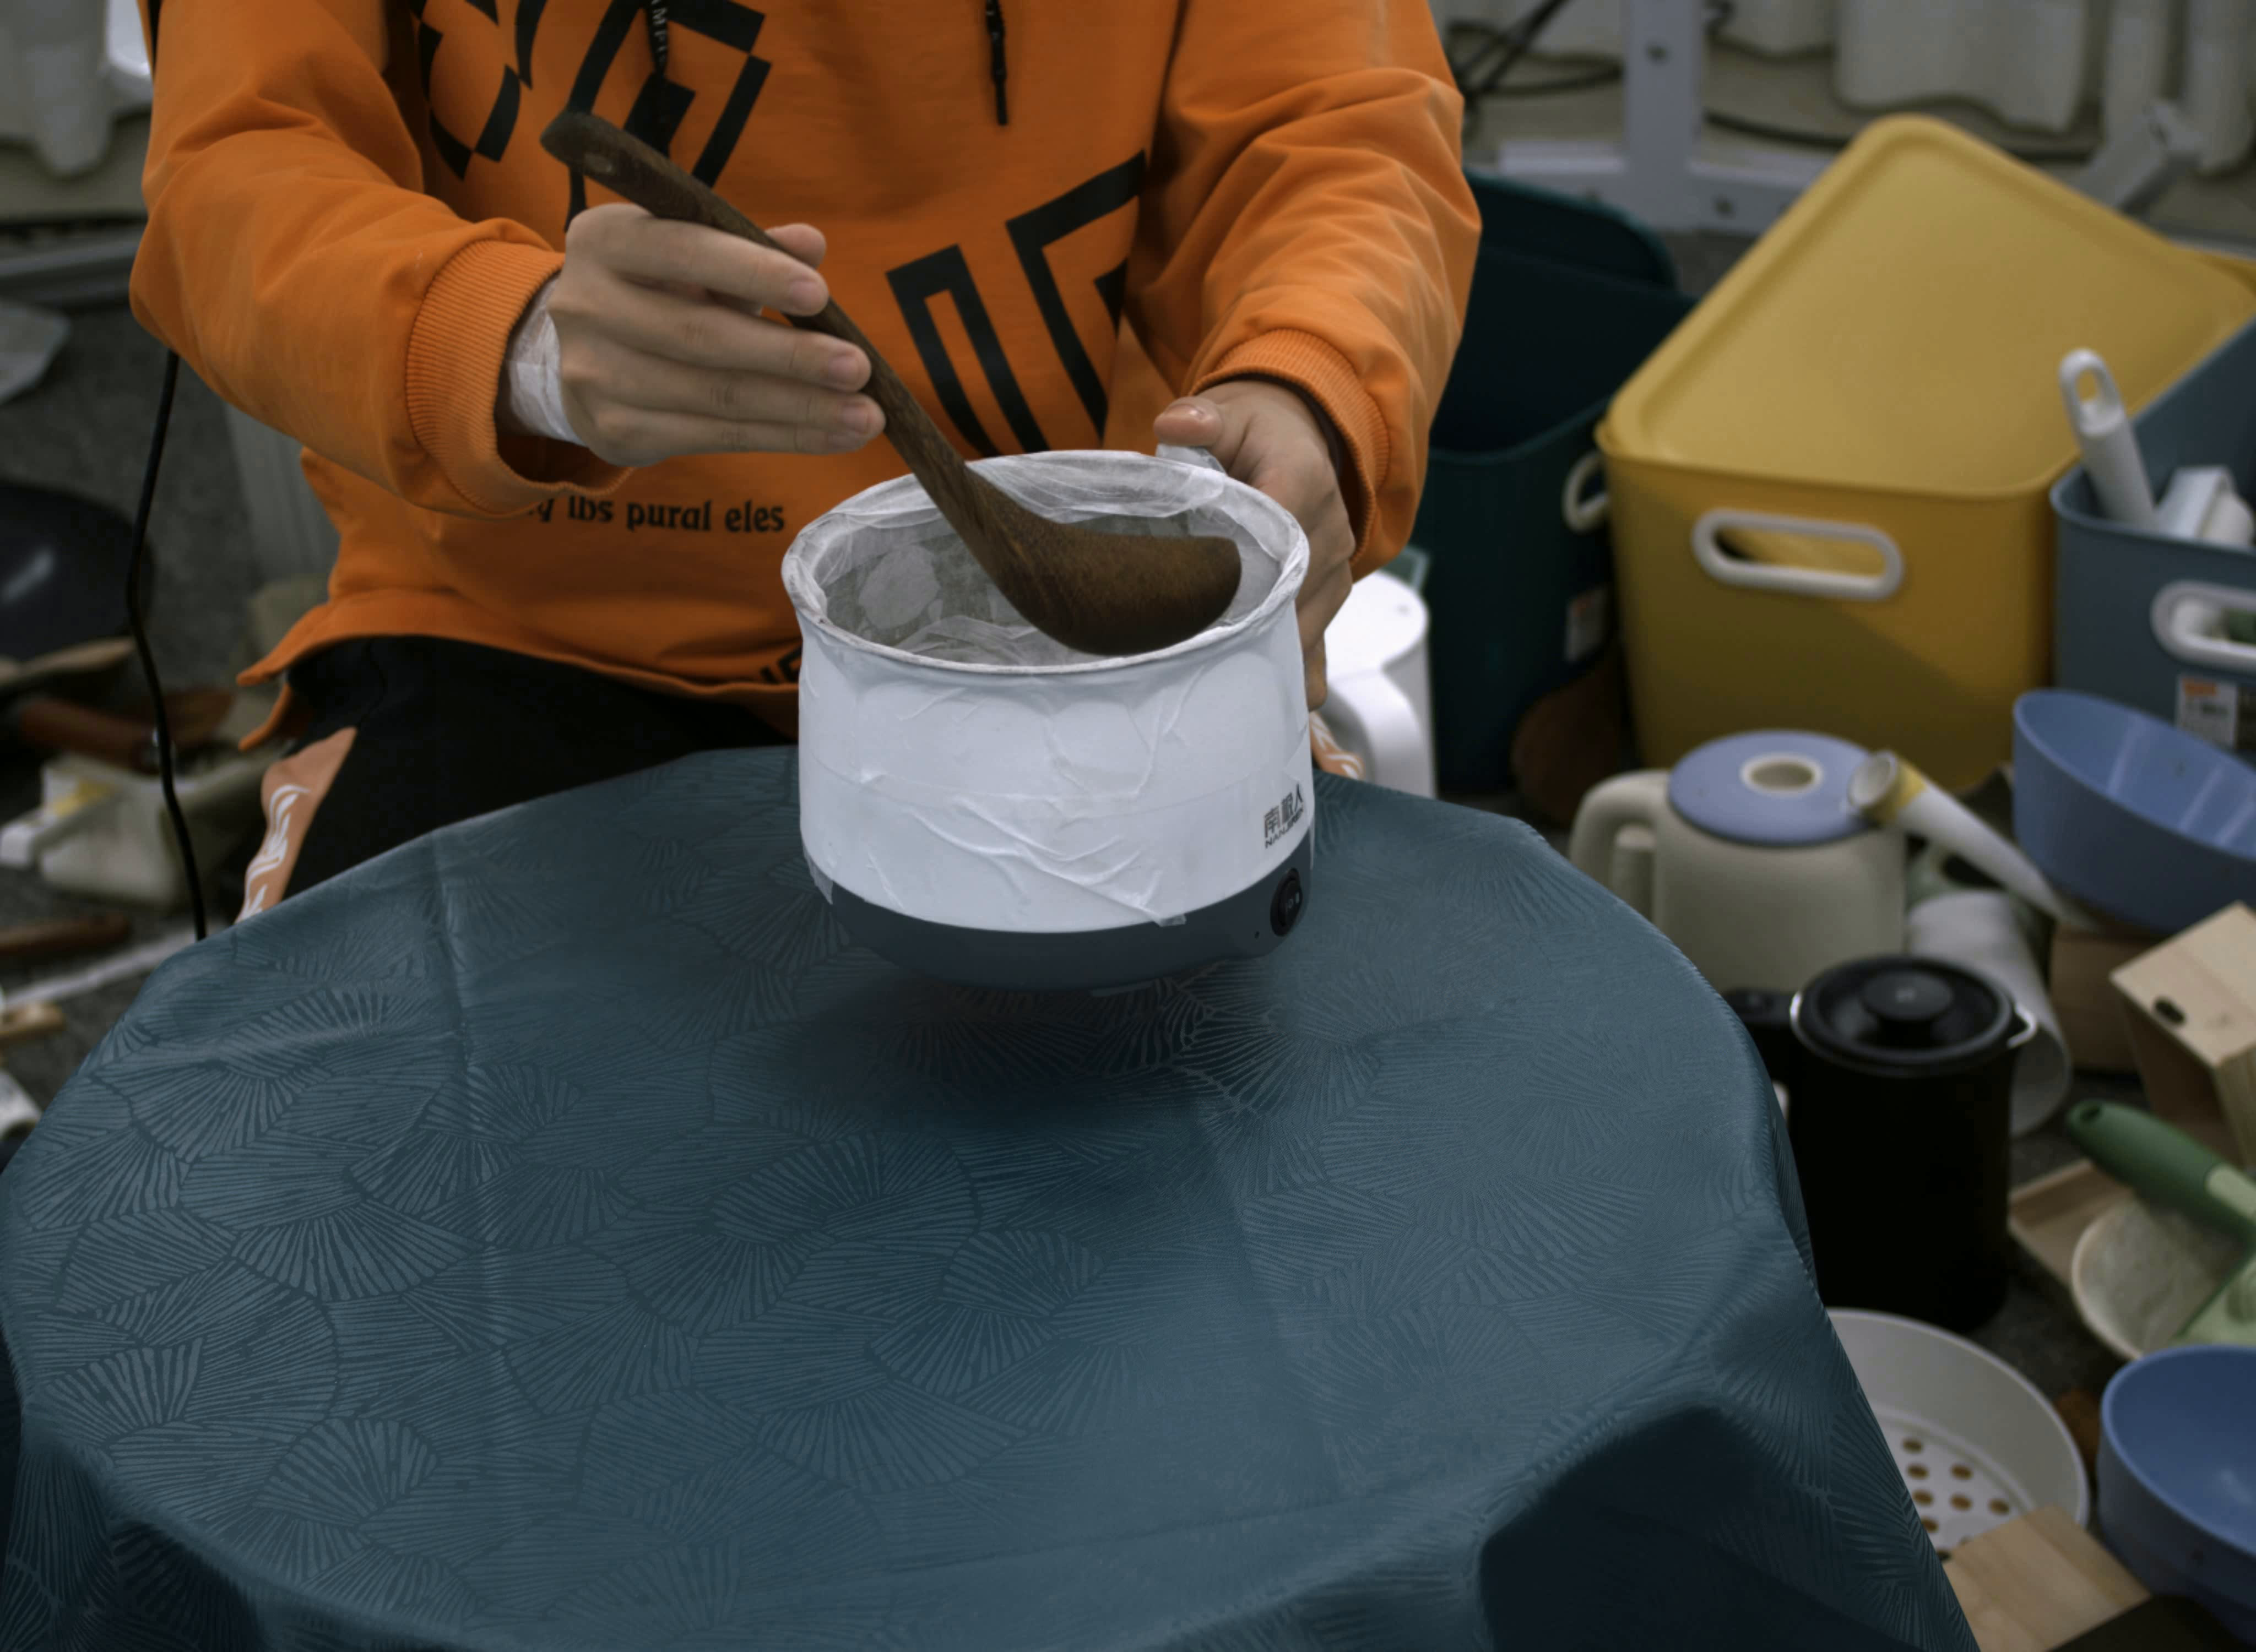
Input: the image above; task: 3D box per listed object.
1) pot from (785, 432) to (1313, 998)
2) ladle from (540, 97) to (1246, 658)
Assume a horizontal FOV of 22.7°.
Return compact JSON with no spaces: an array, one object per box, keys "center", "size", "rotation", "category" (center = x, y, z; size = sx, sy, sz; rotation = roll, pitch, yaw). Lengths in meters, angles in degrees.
[{"center":[-0.013,-0.046,1.934],"size":[0.177,0.135,0.237],"rotation":[11,29,23],"category":"pot"},{"center":[-0.074,-0.156,1.863],"size":[0.075,0.273,0.072],"rotation":[-36,12,51],"category":"ladle"}]
